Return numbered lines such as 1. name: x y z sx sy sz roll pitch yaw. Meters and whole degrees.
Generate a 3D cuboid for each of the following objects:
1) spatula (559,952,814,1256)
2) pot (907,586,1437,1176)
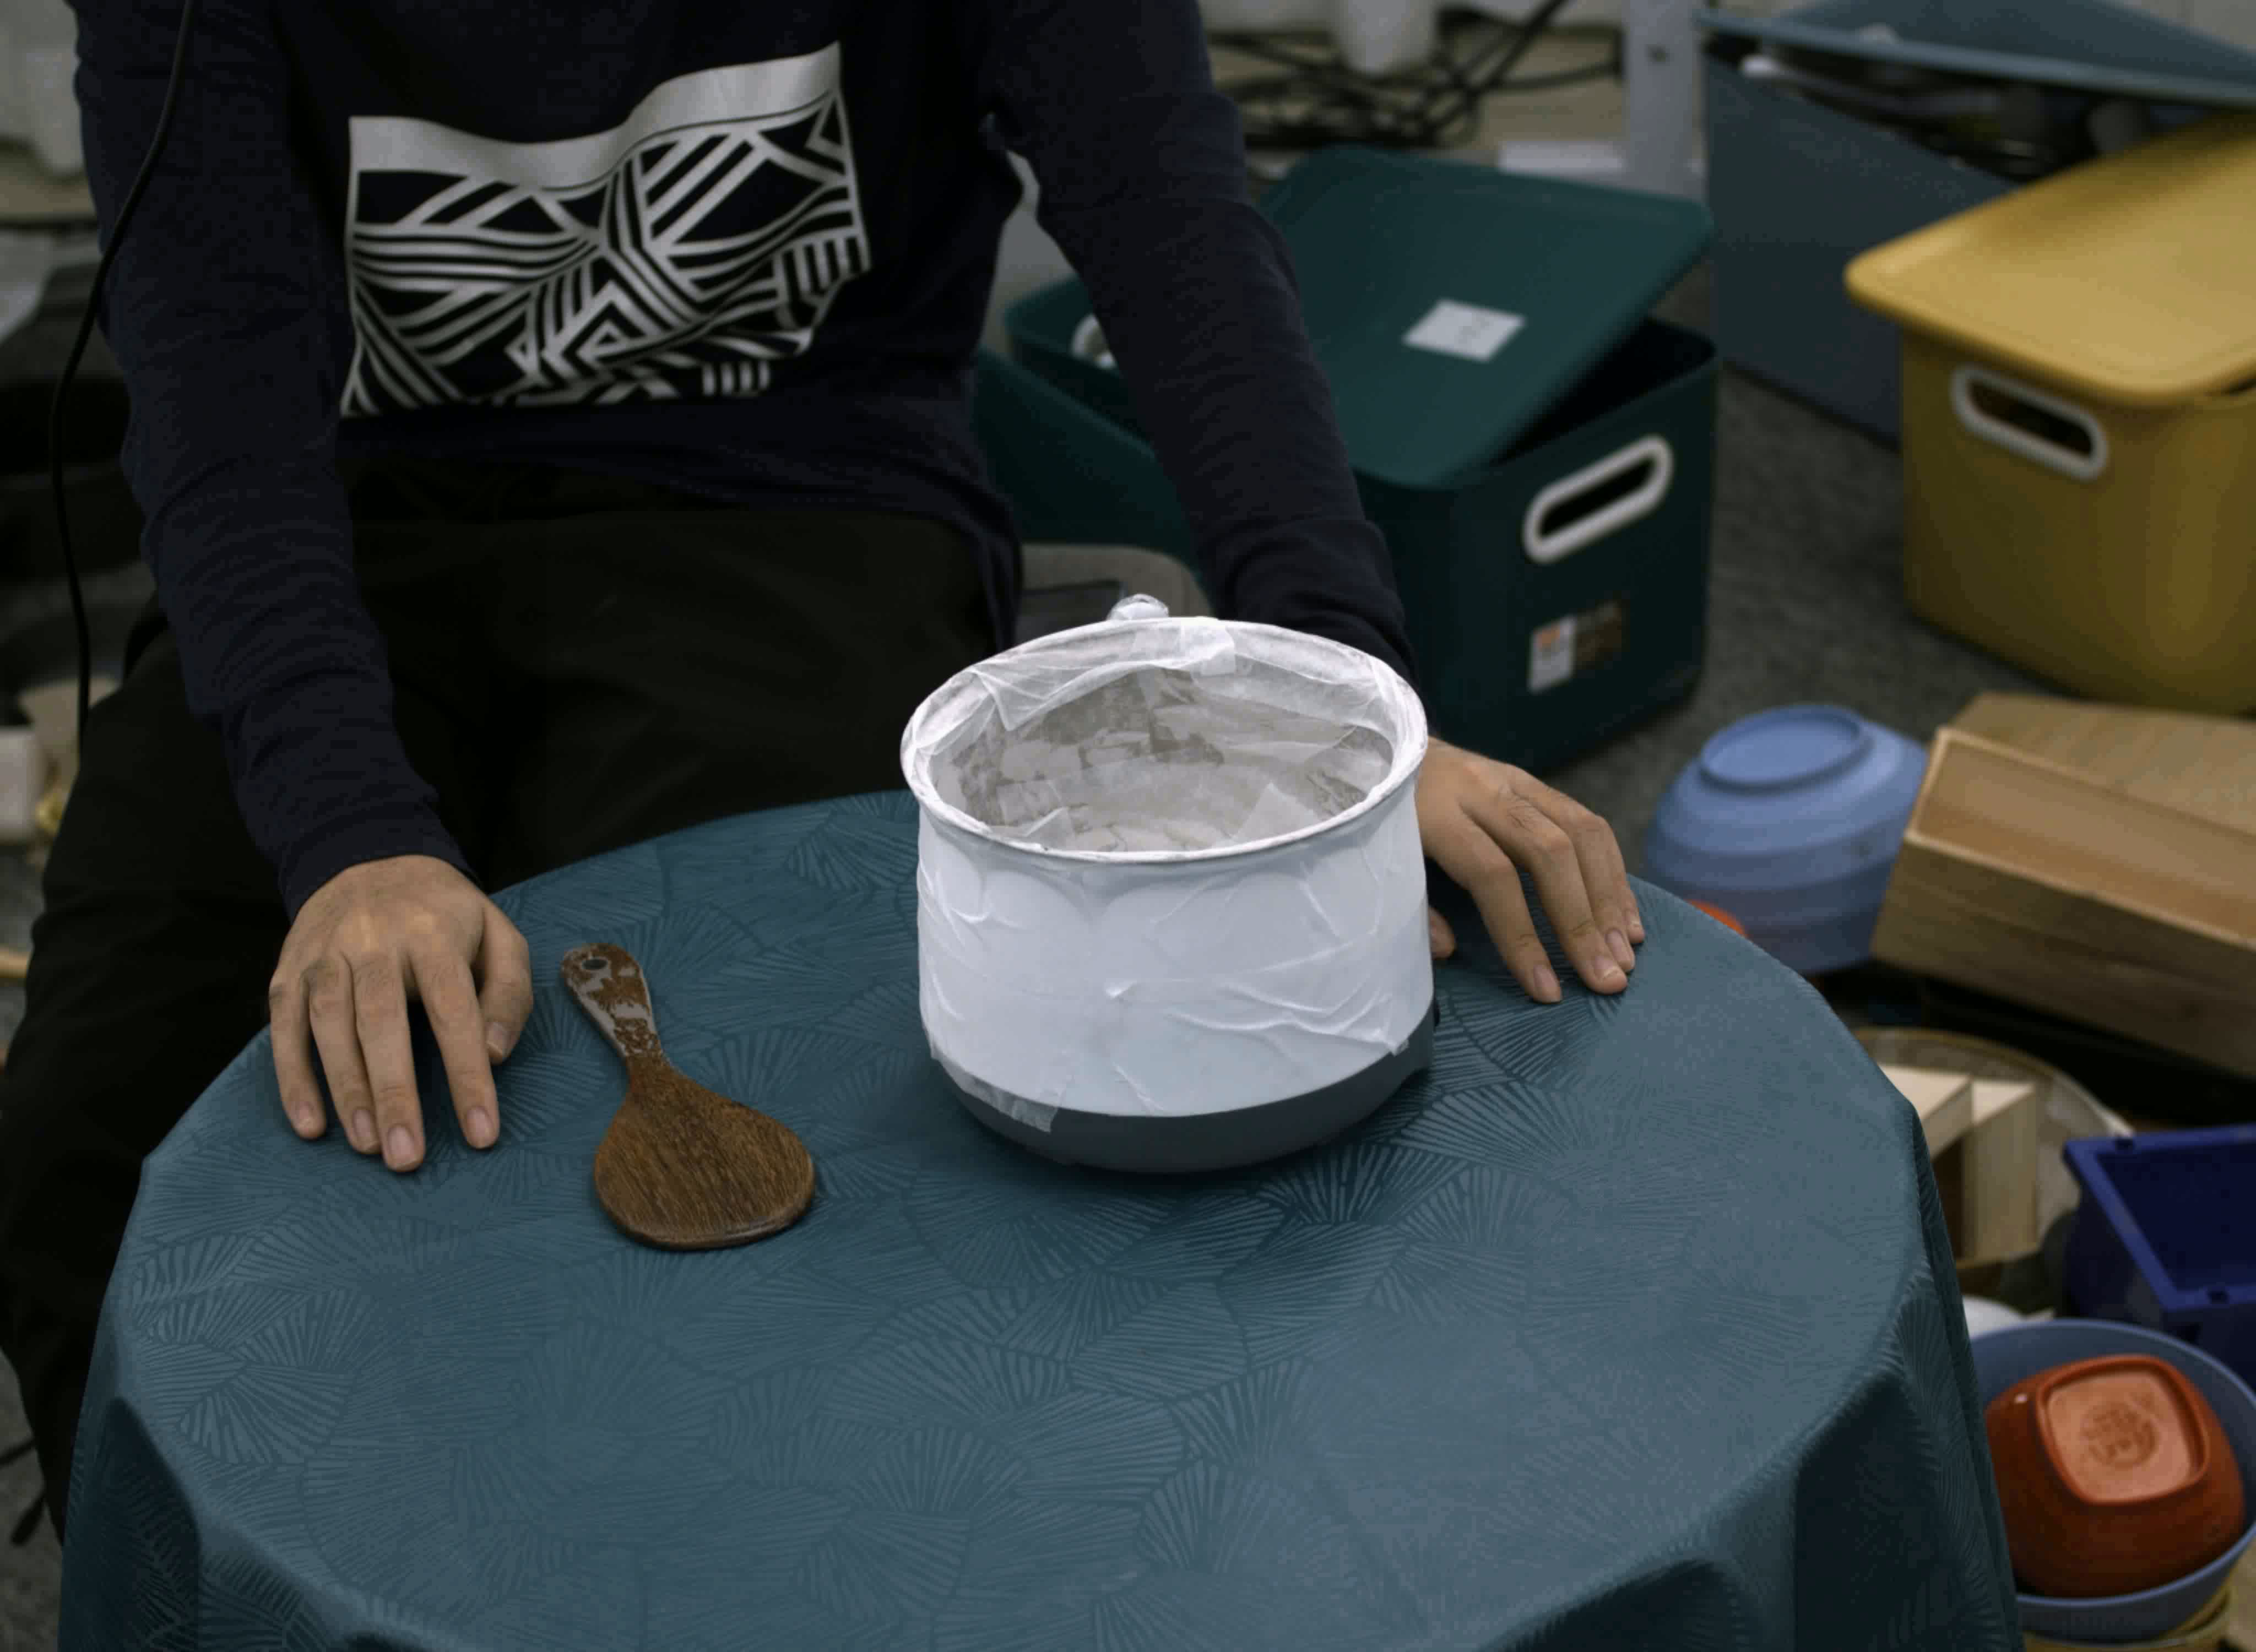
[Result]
1. spatula: -0.162 0.091 1.931 0.072 0.009 0.217 -9 27 -15
2. pot: 0.012 0.011 1.924 0.178 0.135 0.237 -3 28 -6
